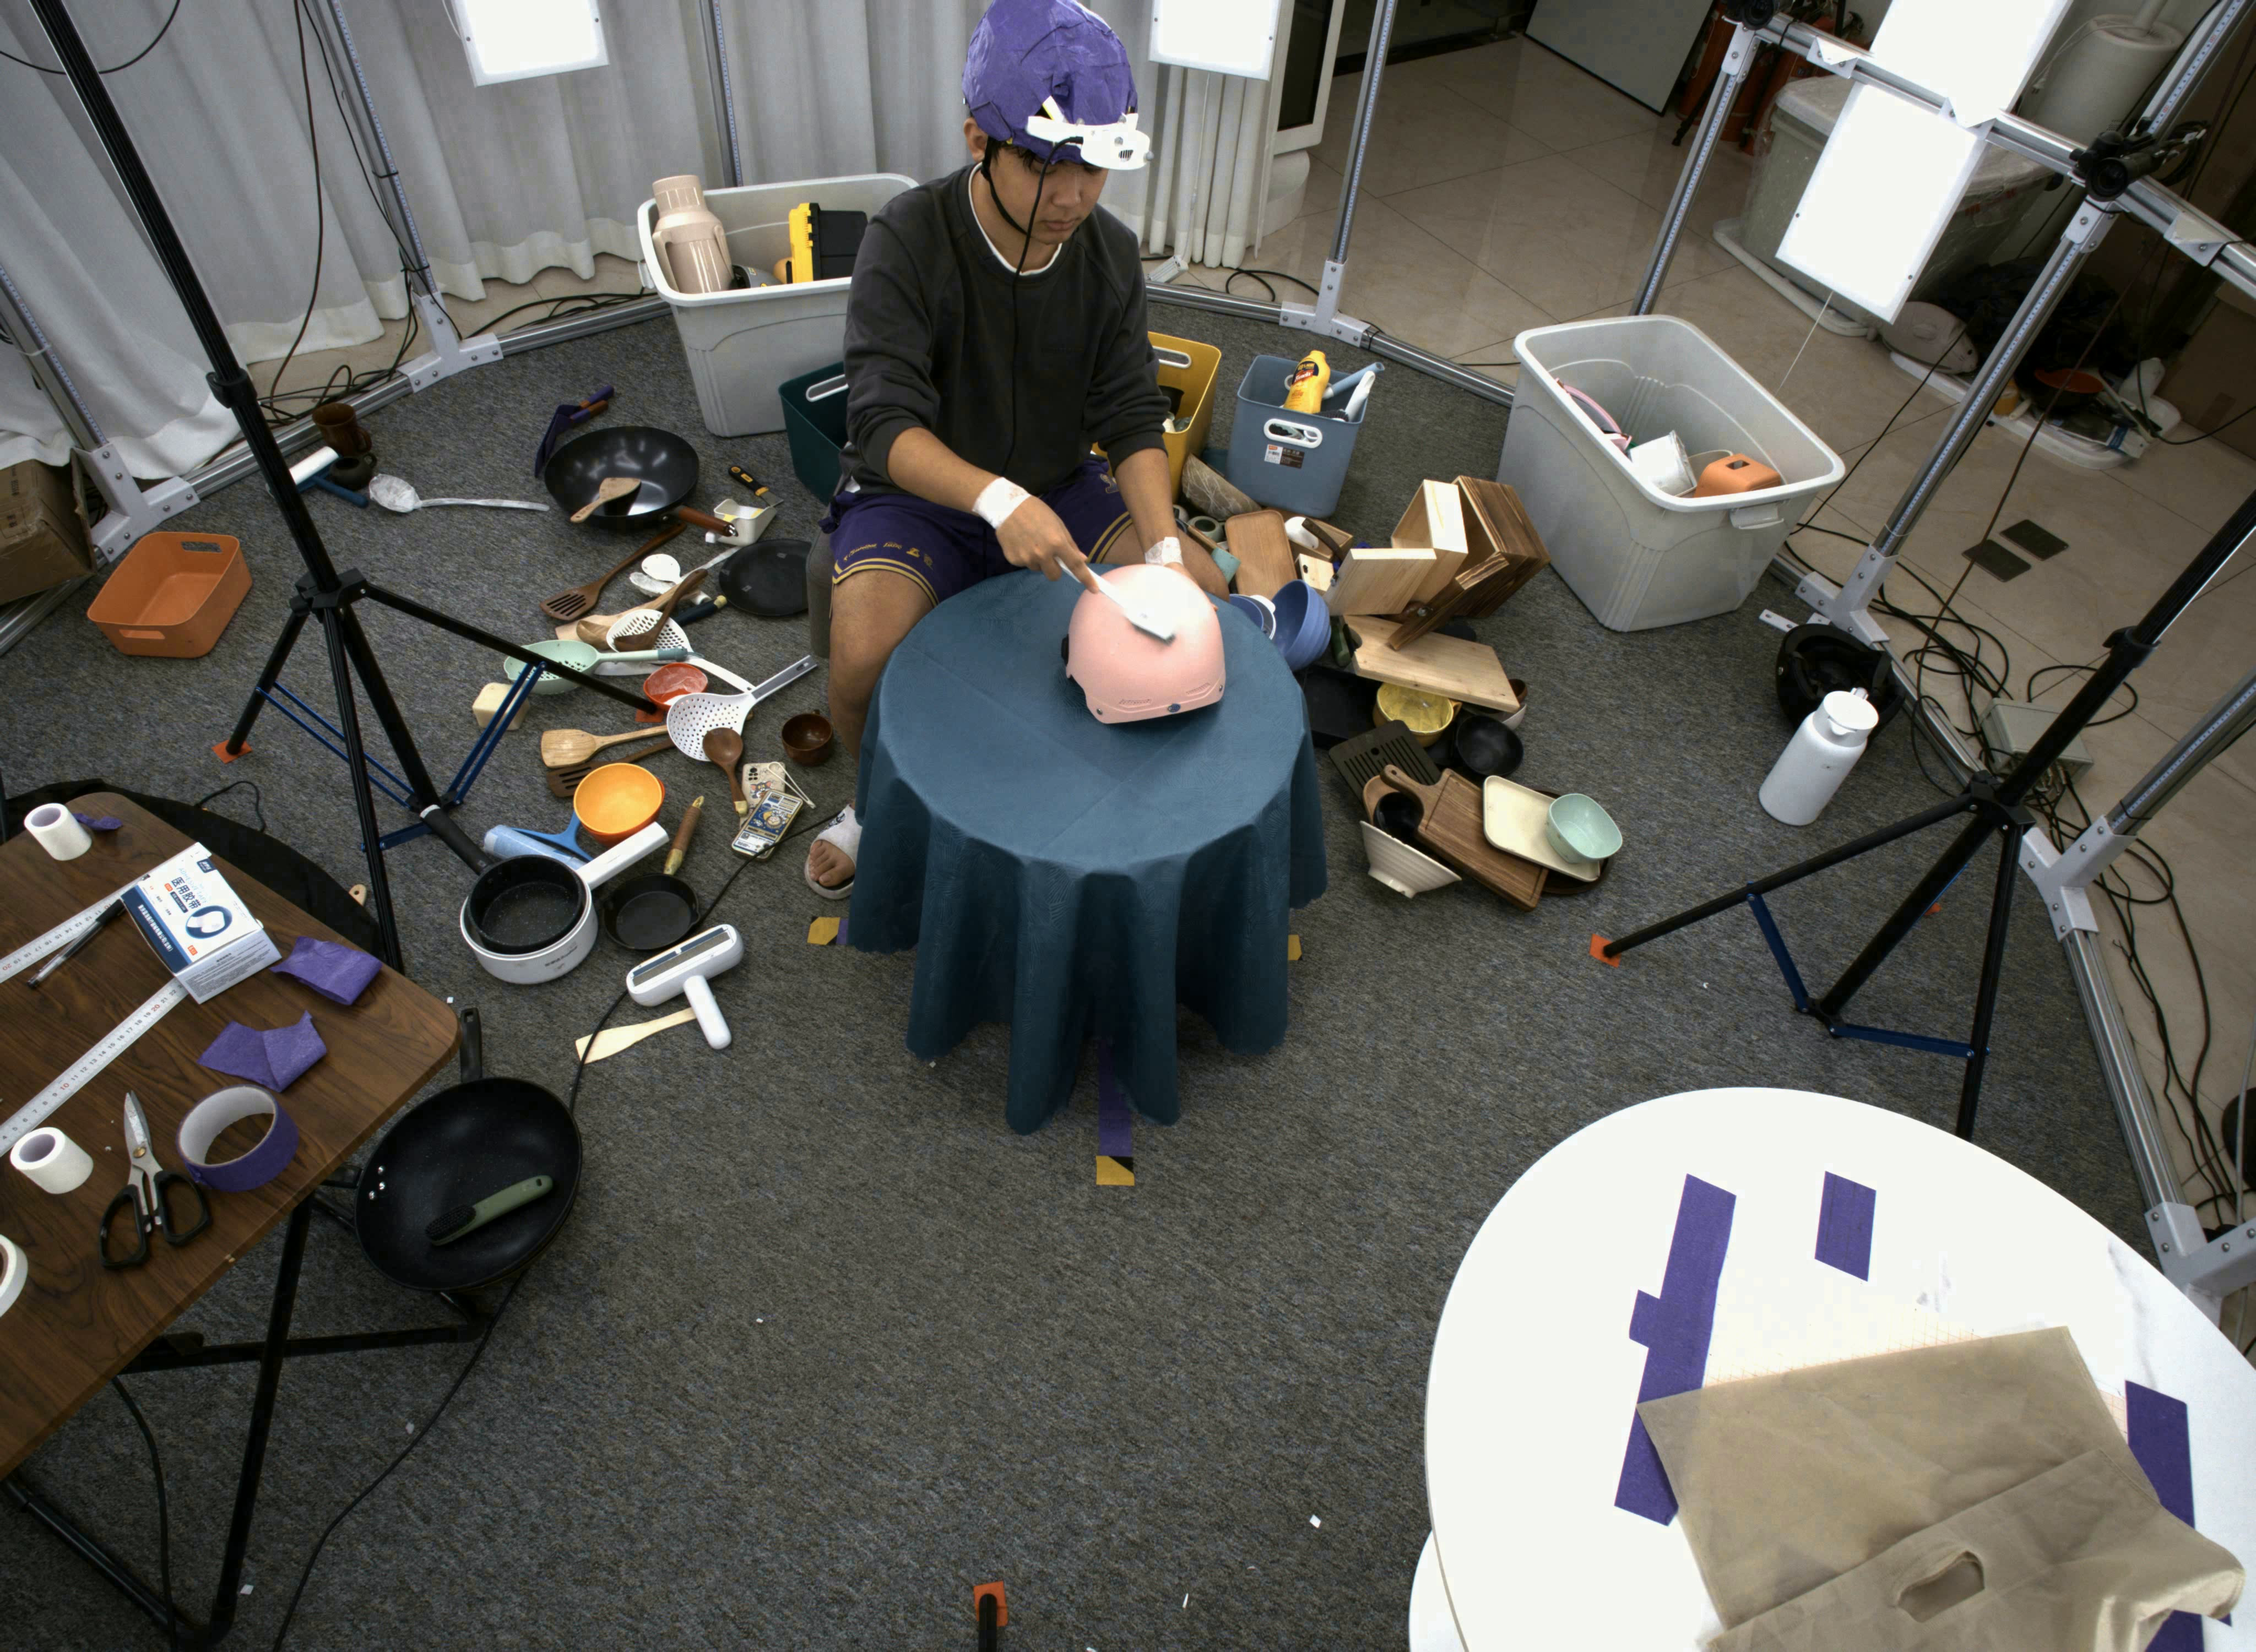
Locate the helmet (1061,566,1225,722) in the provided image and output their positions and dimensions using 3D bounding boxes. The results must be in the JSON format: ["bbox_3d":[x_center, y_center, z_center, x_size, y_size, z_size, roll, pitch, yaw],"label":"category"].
[{"bbox_3d":[0.021,-0.280,1.806,0.234,0.155,0.272,-13,47,-8],"label":"helmet"}]

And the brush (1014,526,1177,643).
[{"bbox_3d":[-0.043,-0.315,1.680,0.243,0.050,0.034,30,78,-3],"label":"brush"}]
